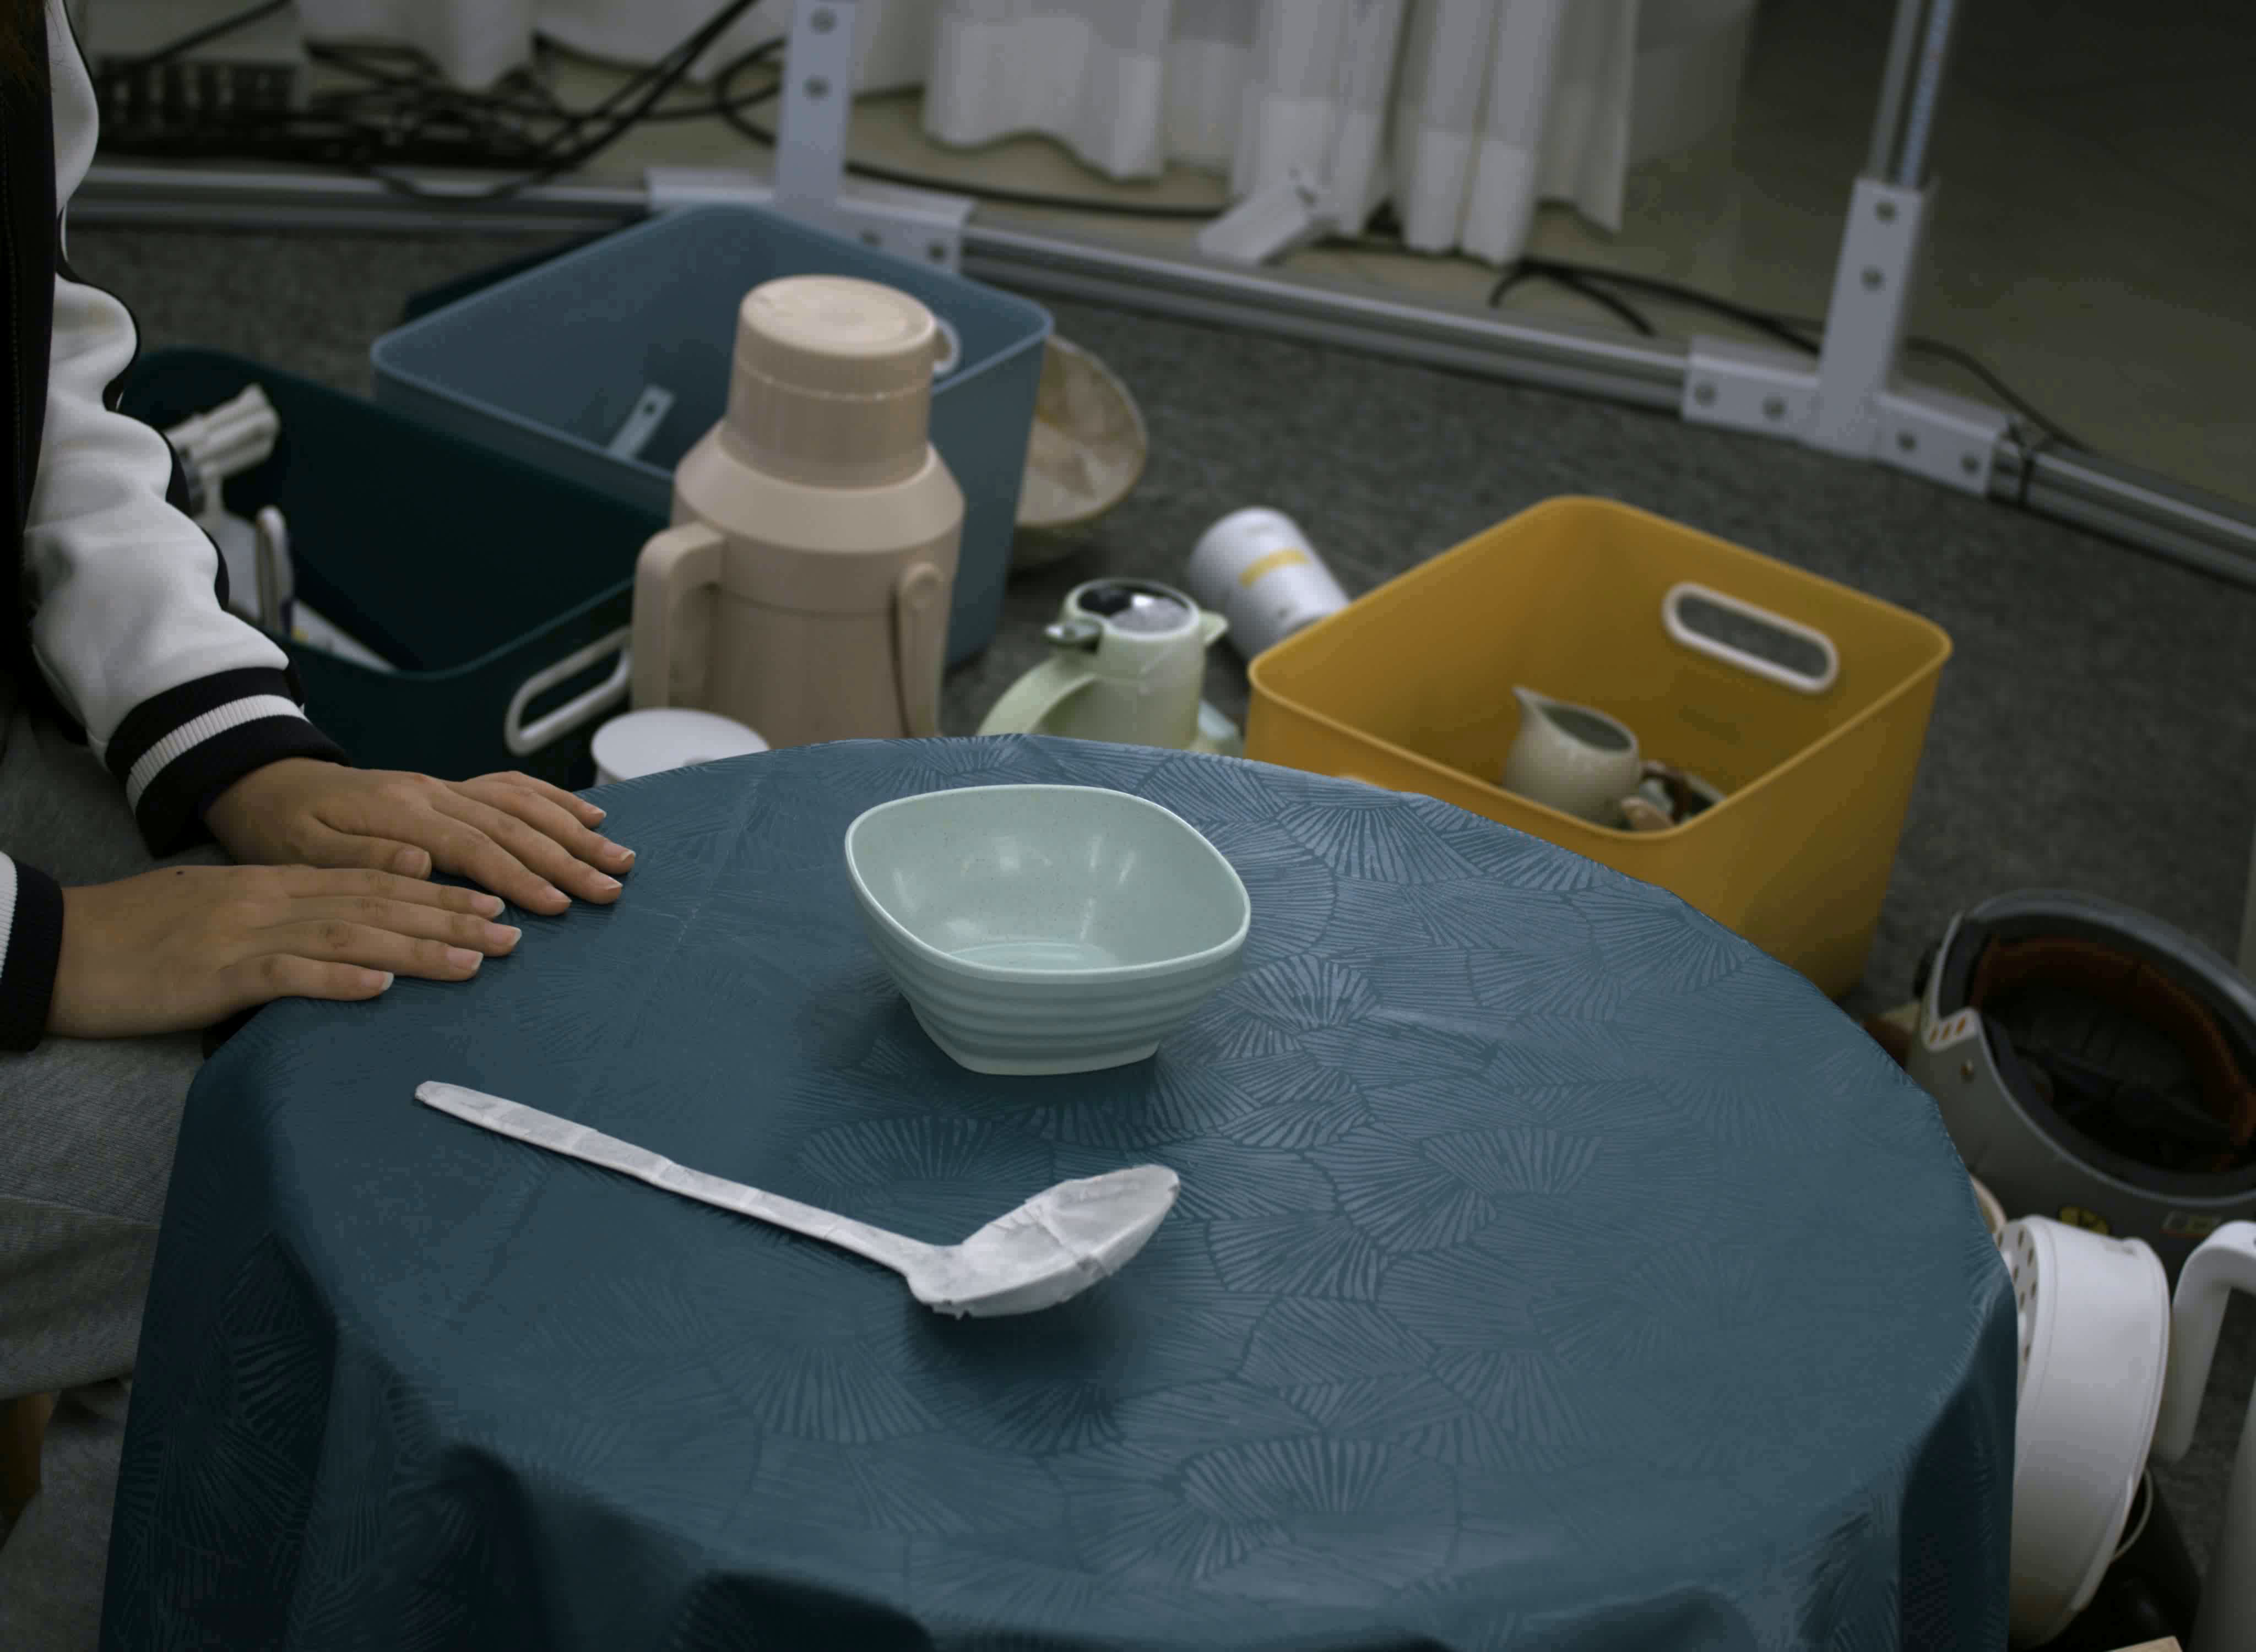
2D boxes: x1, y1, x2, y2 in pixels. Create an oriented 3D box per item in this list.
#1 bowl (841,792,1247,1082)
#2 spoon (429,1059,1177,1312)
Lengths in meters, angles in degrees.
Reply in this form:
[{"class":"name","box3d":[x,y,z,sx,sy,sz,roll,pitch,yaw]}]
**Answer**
[{"class":"bowl","box3d":[-0.033,0.045,1.892,0.151,0.058,0.152,5,27,-3]},{"class":"spoon","box3d":[-0.112,0.101,1.759,0.278,0.059,0.100,20,25,24]}]
